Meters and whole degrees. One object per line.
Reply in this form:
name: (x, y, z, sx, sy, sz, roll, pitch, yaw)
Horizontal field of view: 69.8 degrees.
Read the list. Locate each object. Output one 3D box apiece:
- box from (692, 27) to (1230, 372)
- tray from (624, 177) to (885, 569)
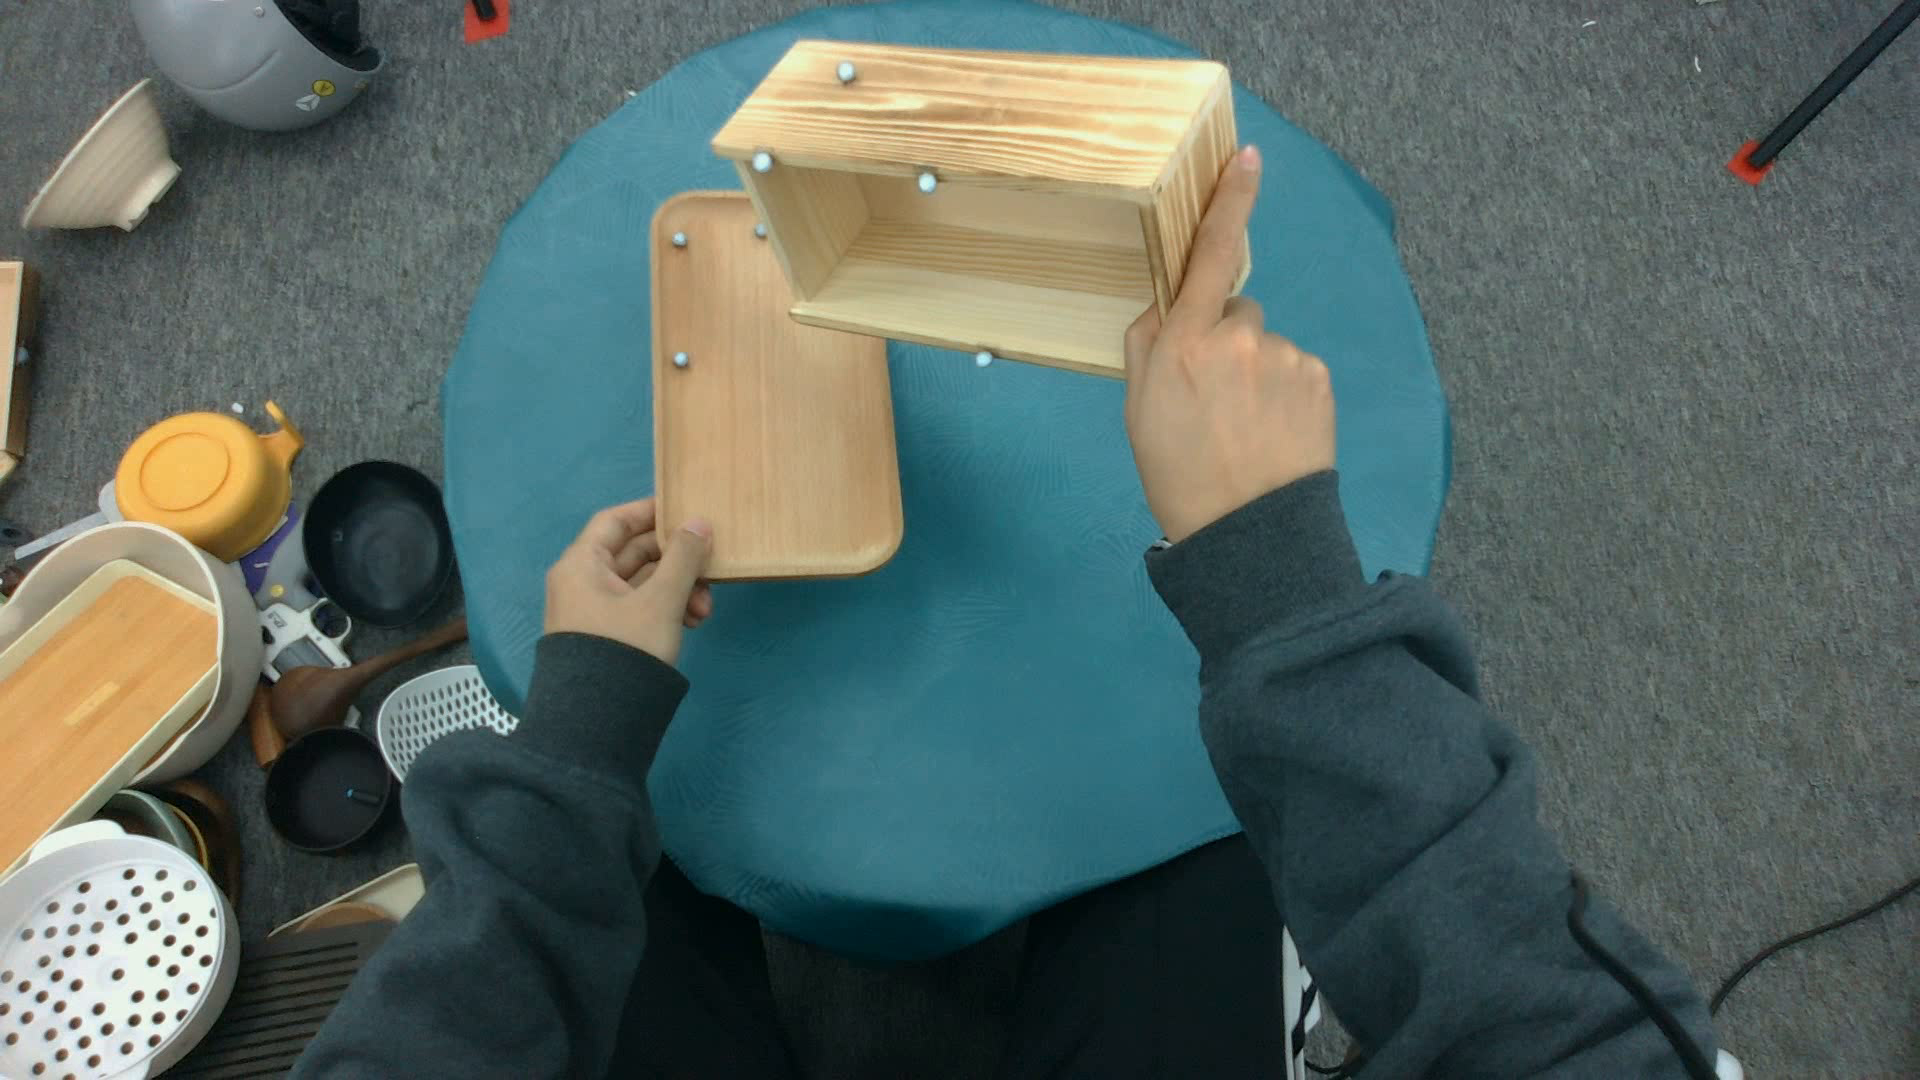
box: (0.003, -0.155, 0.613, 0.211, 0.107, 0.080, 13, 57, 27)
tray: (-0.115, -0.098, 0.751, 0.130, 0.023, 0.251, -3, 64, -9)
